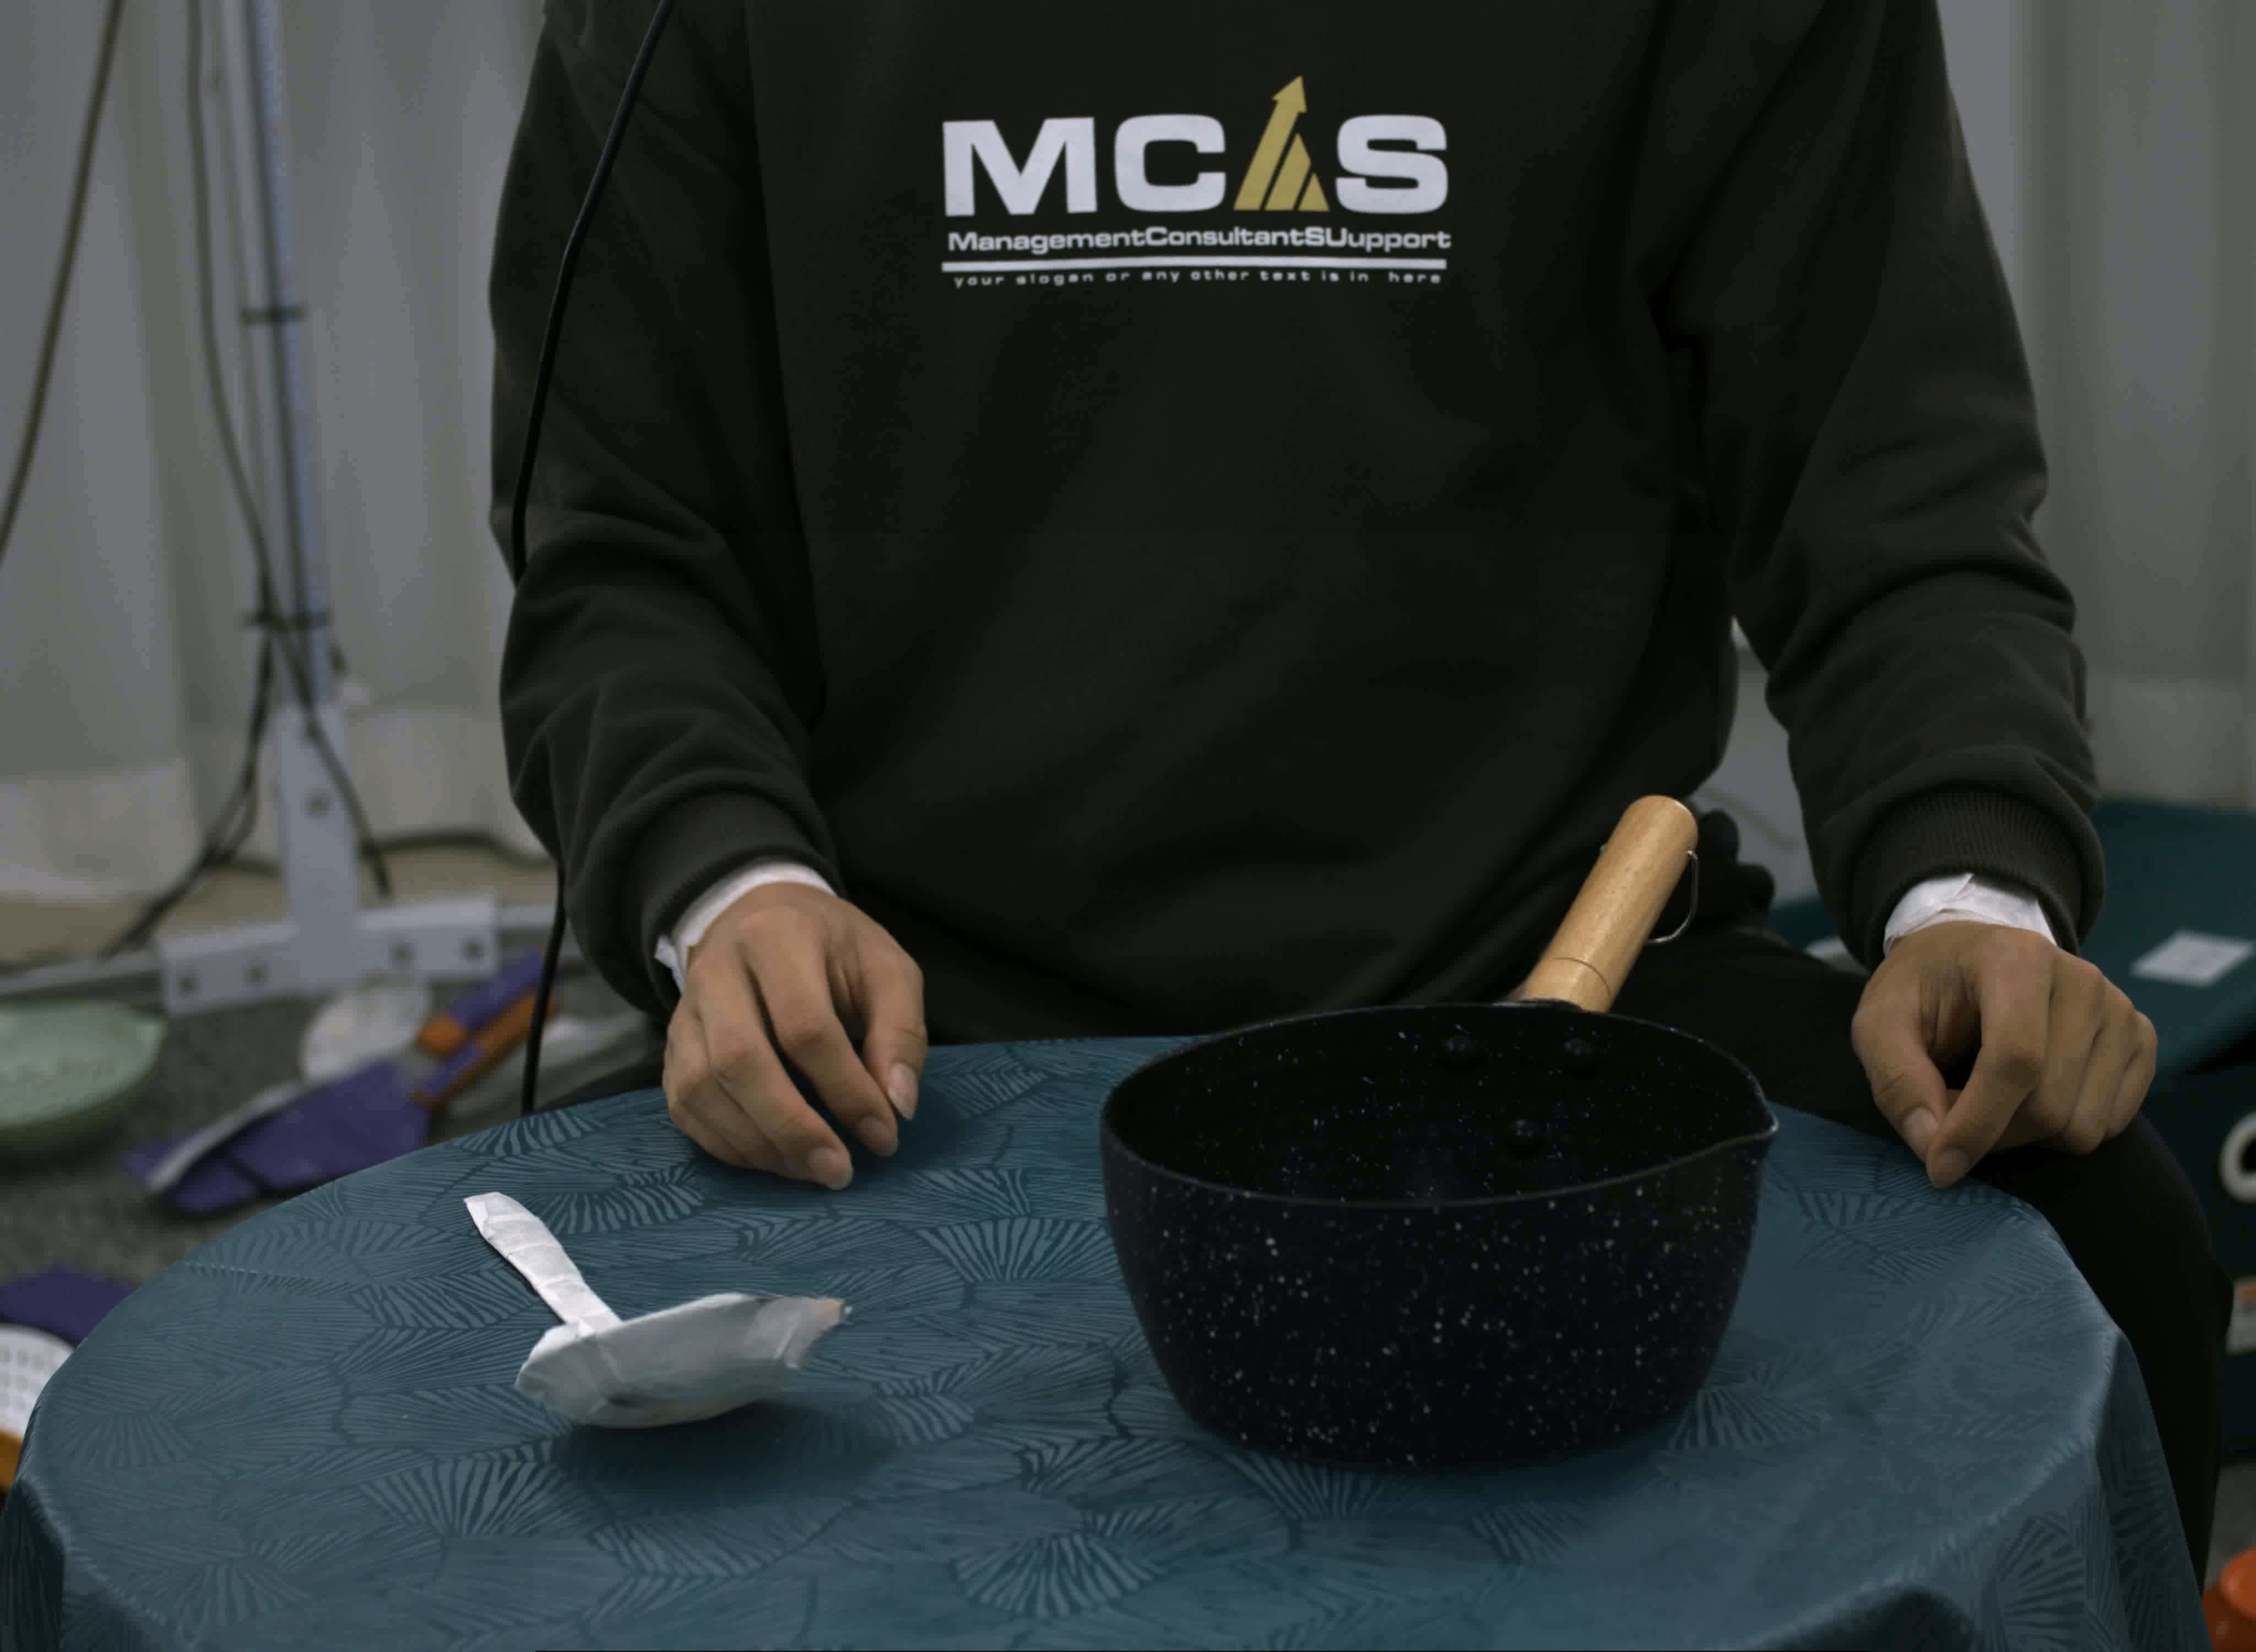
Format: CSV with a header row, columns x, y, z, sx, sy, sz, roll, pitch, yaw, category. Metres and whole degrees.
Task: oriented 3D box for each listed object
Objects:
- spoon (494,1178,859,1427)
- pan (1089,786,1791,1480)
x,y,z,sx,sy,sz,roll,pitch,yaw,category
-0.150,0.122,1.608,0.100,0.059,0.279,-5,15,-16,spoon
0.112,0.085,1.602,0.207,0.108,0.344,1,16,20,pan
